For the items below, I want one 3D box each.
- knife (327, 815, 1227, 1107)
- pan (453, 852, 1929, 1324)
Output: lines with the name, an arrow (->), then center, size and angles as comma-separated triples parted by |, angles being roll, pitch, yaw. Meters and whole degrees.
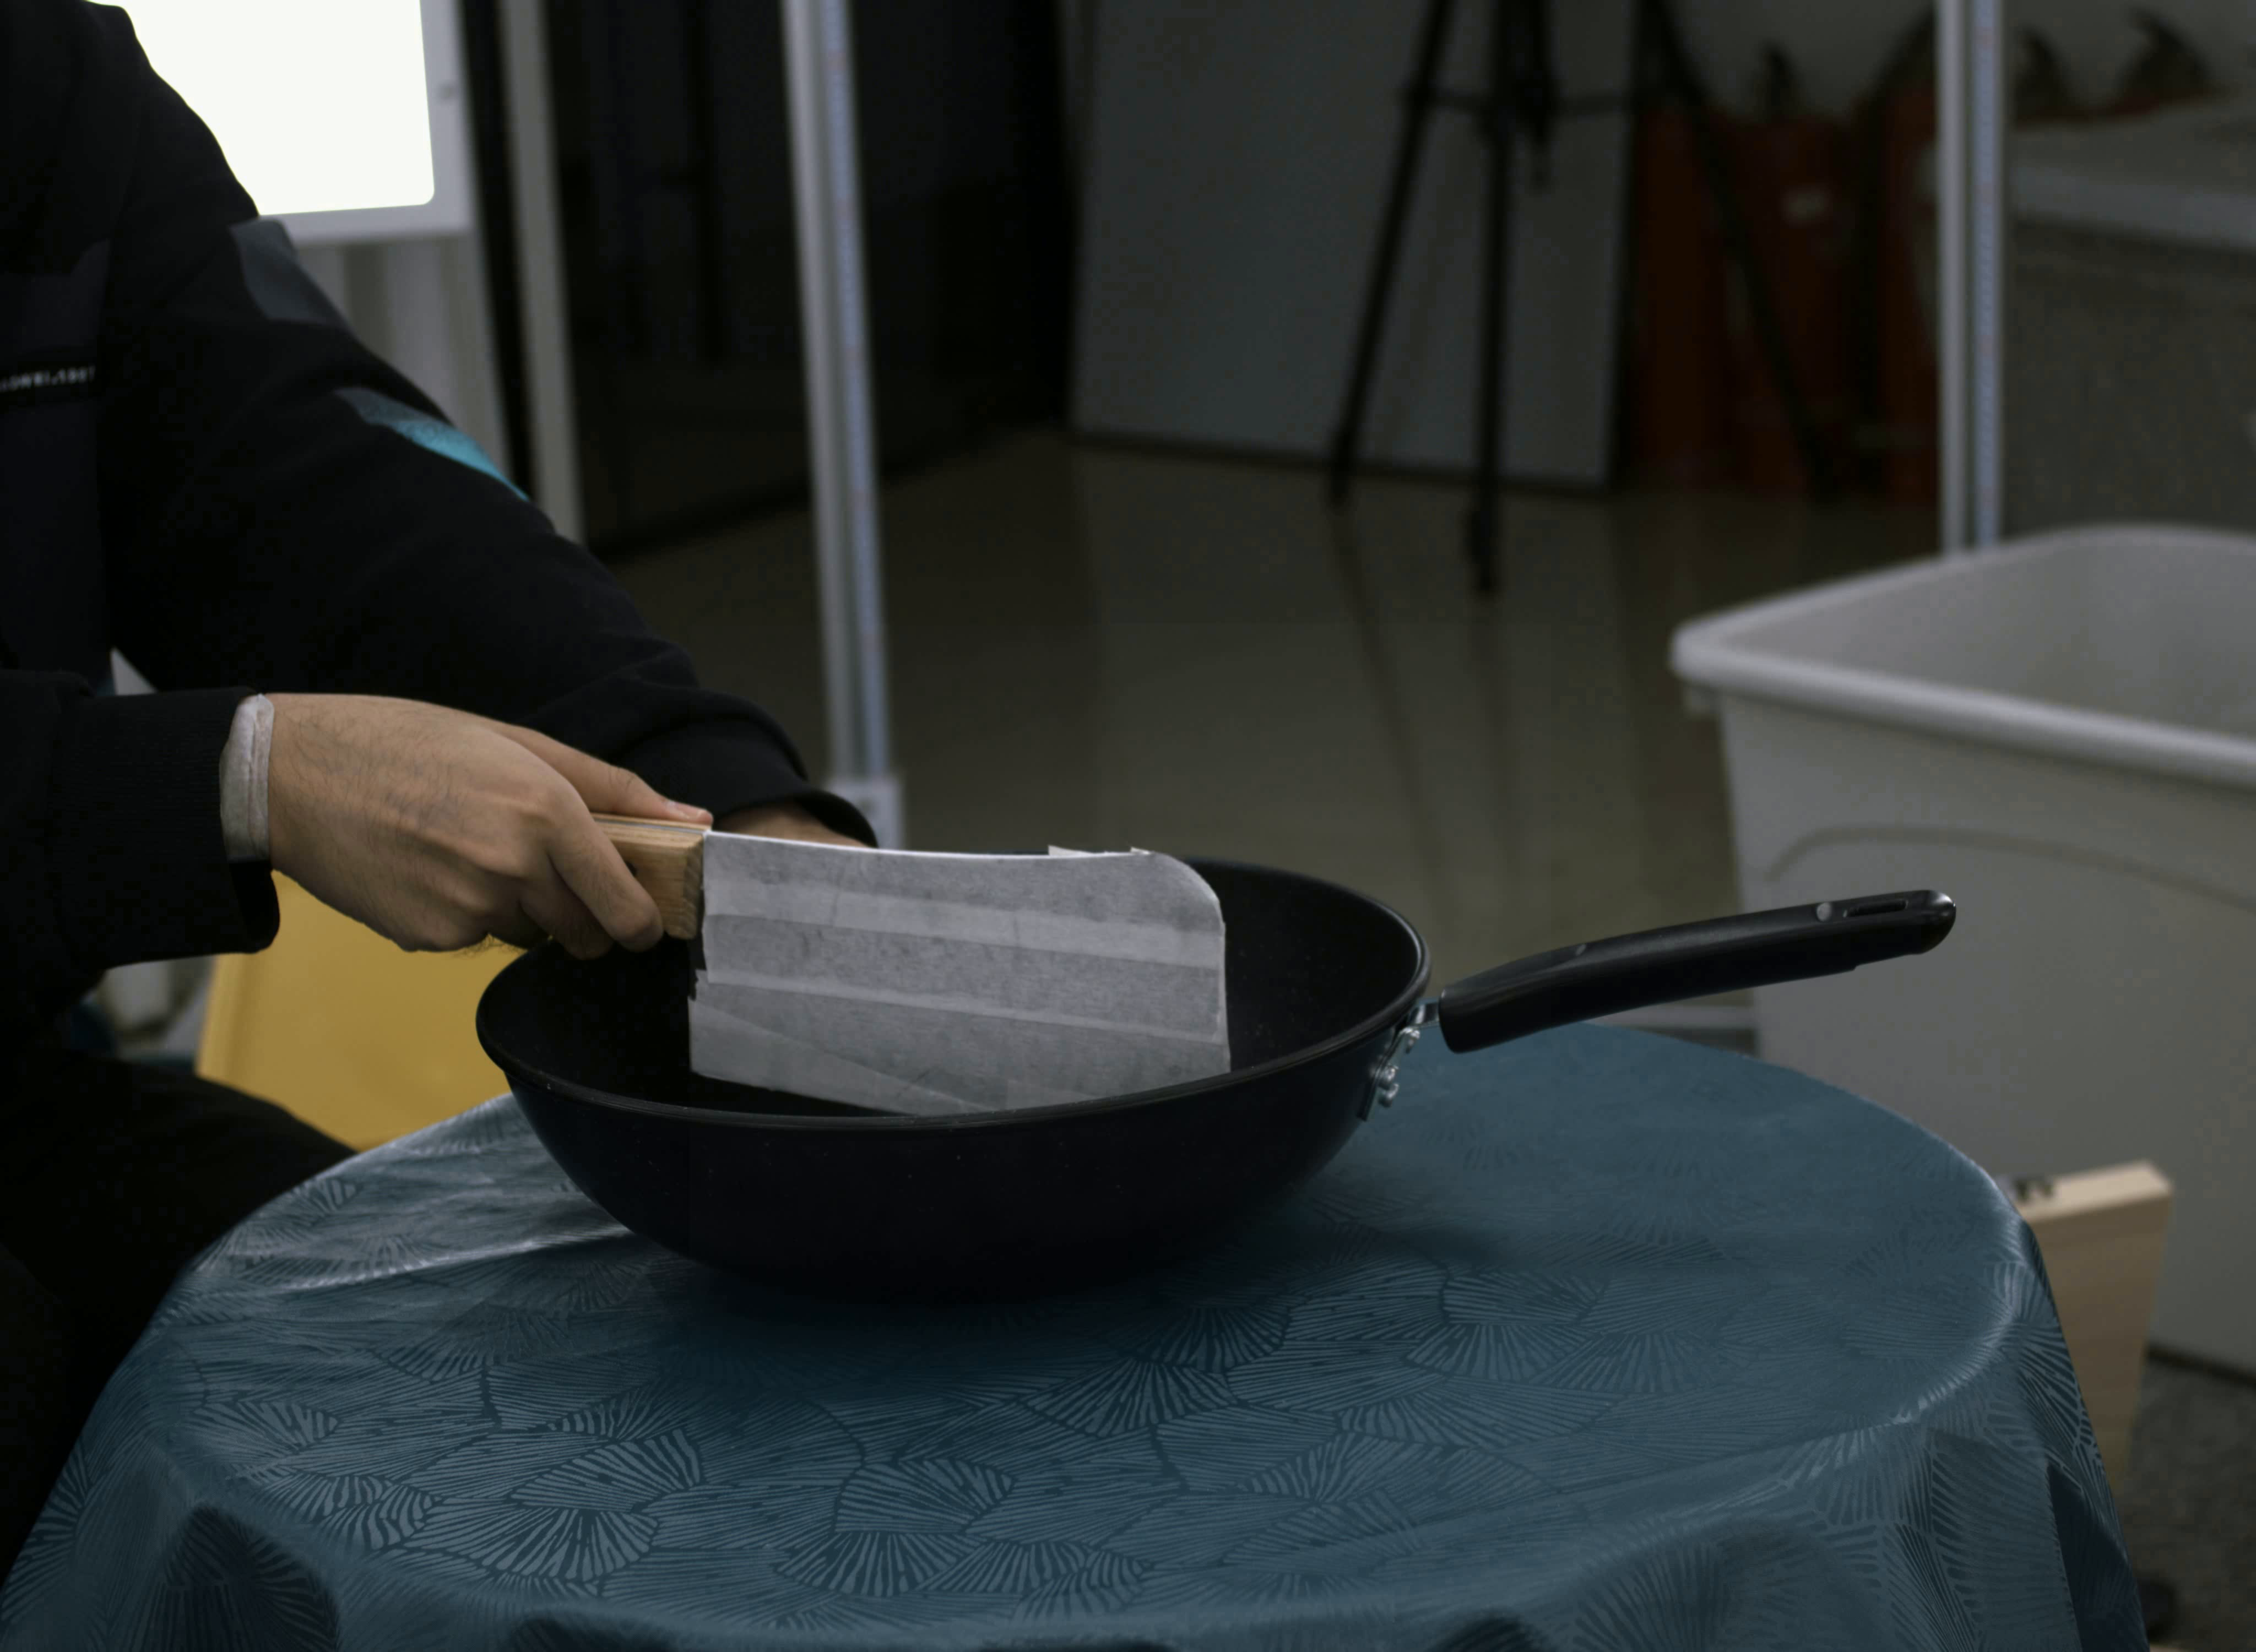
knife -> -0.111, 0.034, 1.724 | 0.314, 0.115, 0.021 | 10, 21, 18
pan -> 0.019, 0.078, 1.716 | 0.475, 0.113, 0.308 | -1, 16, 15
